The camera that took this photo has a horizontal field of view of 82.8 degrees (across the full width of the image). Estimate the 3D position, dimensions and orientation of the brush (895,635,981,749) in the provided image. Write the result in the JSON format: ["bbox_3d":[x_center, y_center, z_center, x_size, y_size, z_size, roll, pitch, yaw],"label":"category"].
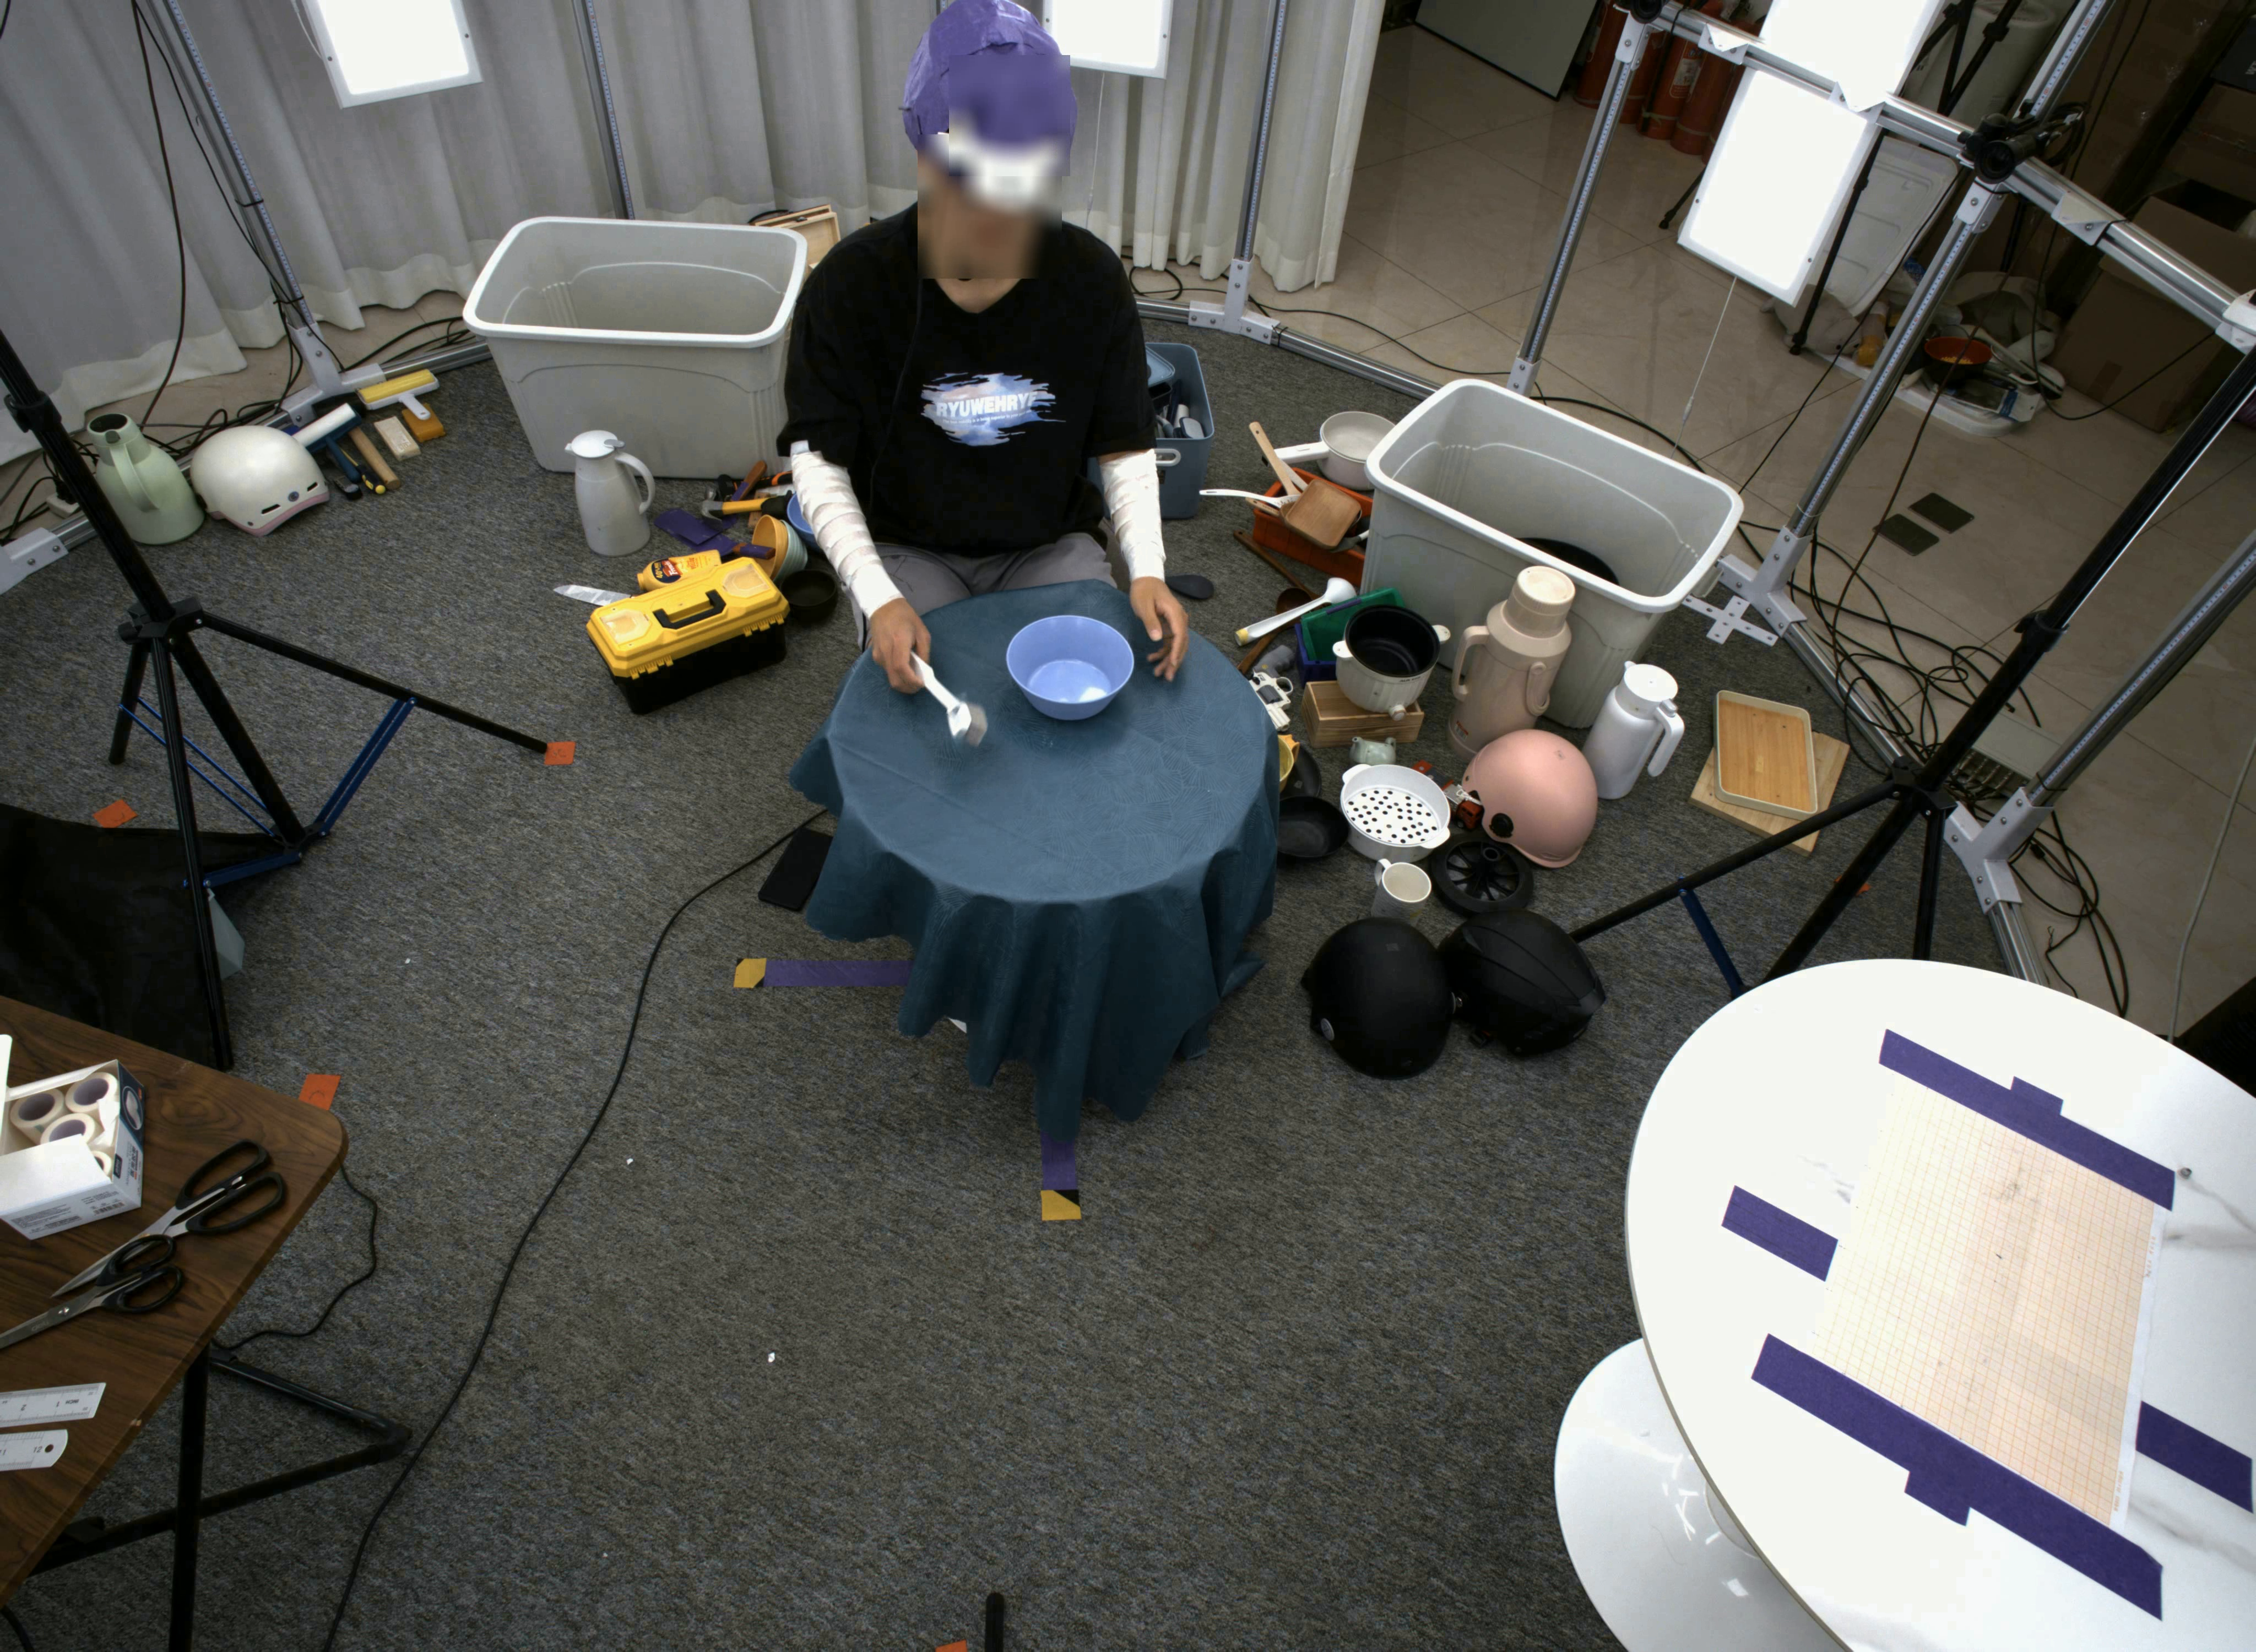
[{"bbox_3d":[-0.257,-0.188,1.755,0.050,0.034,0.249,1,37,-34],"label":"brush"}]

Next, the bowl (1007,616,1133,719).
[{"bbox_3d":[-0.083,-0.214,1.807,0.176,0.068,0.180,2,49,-3],"label":"bowl"}]
